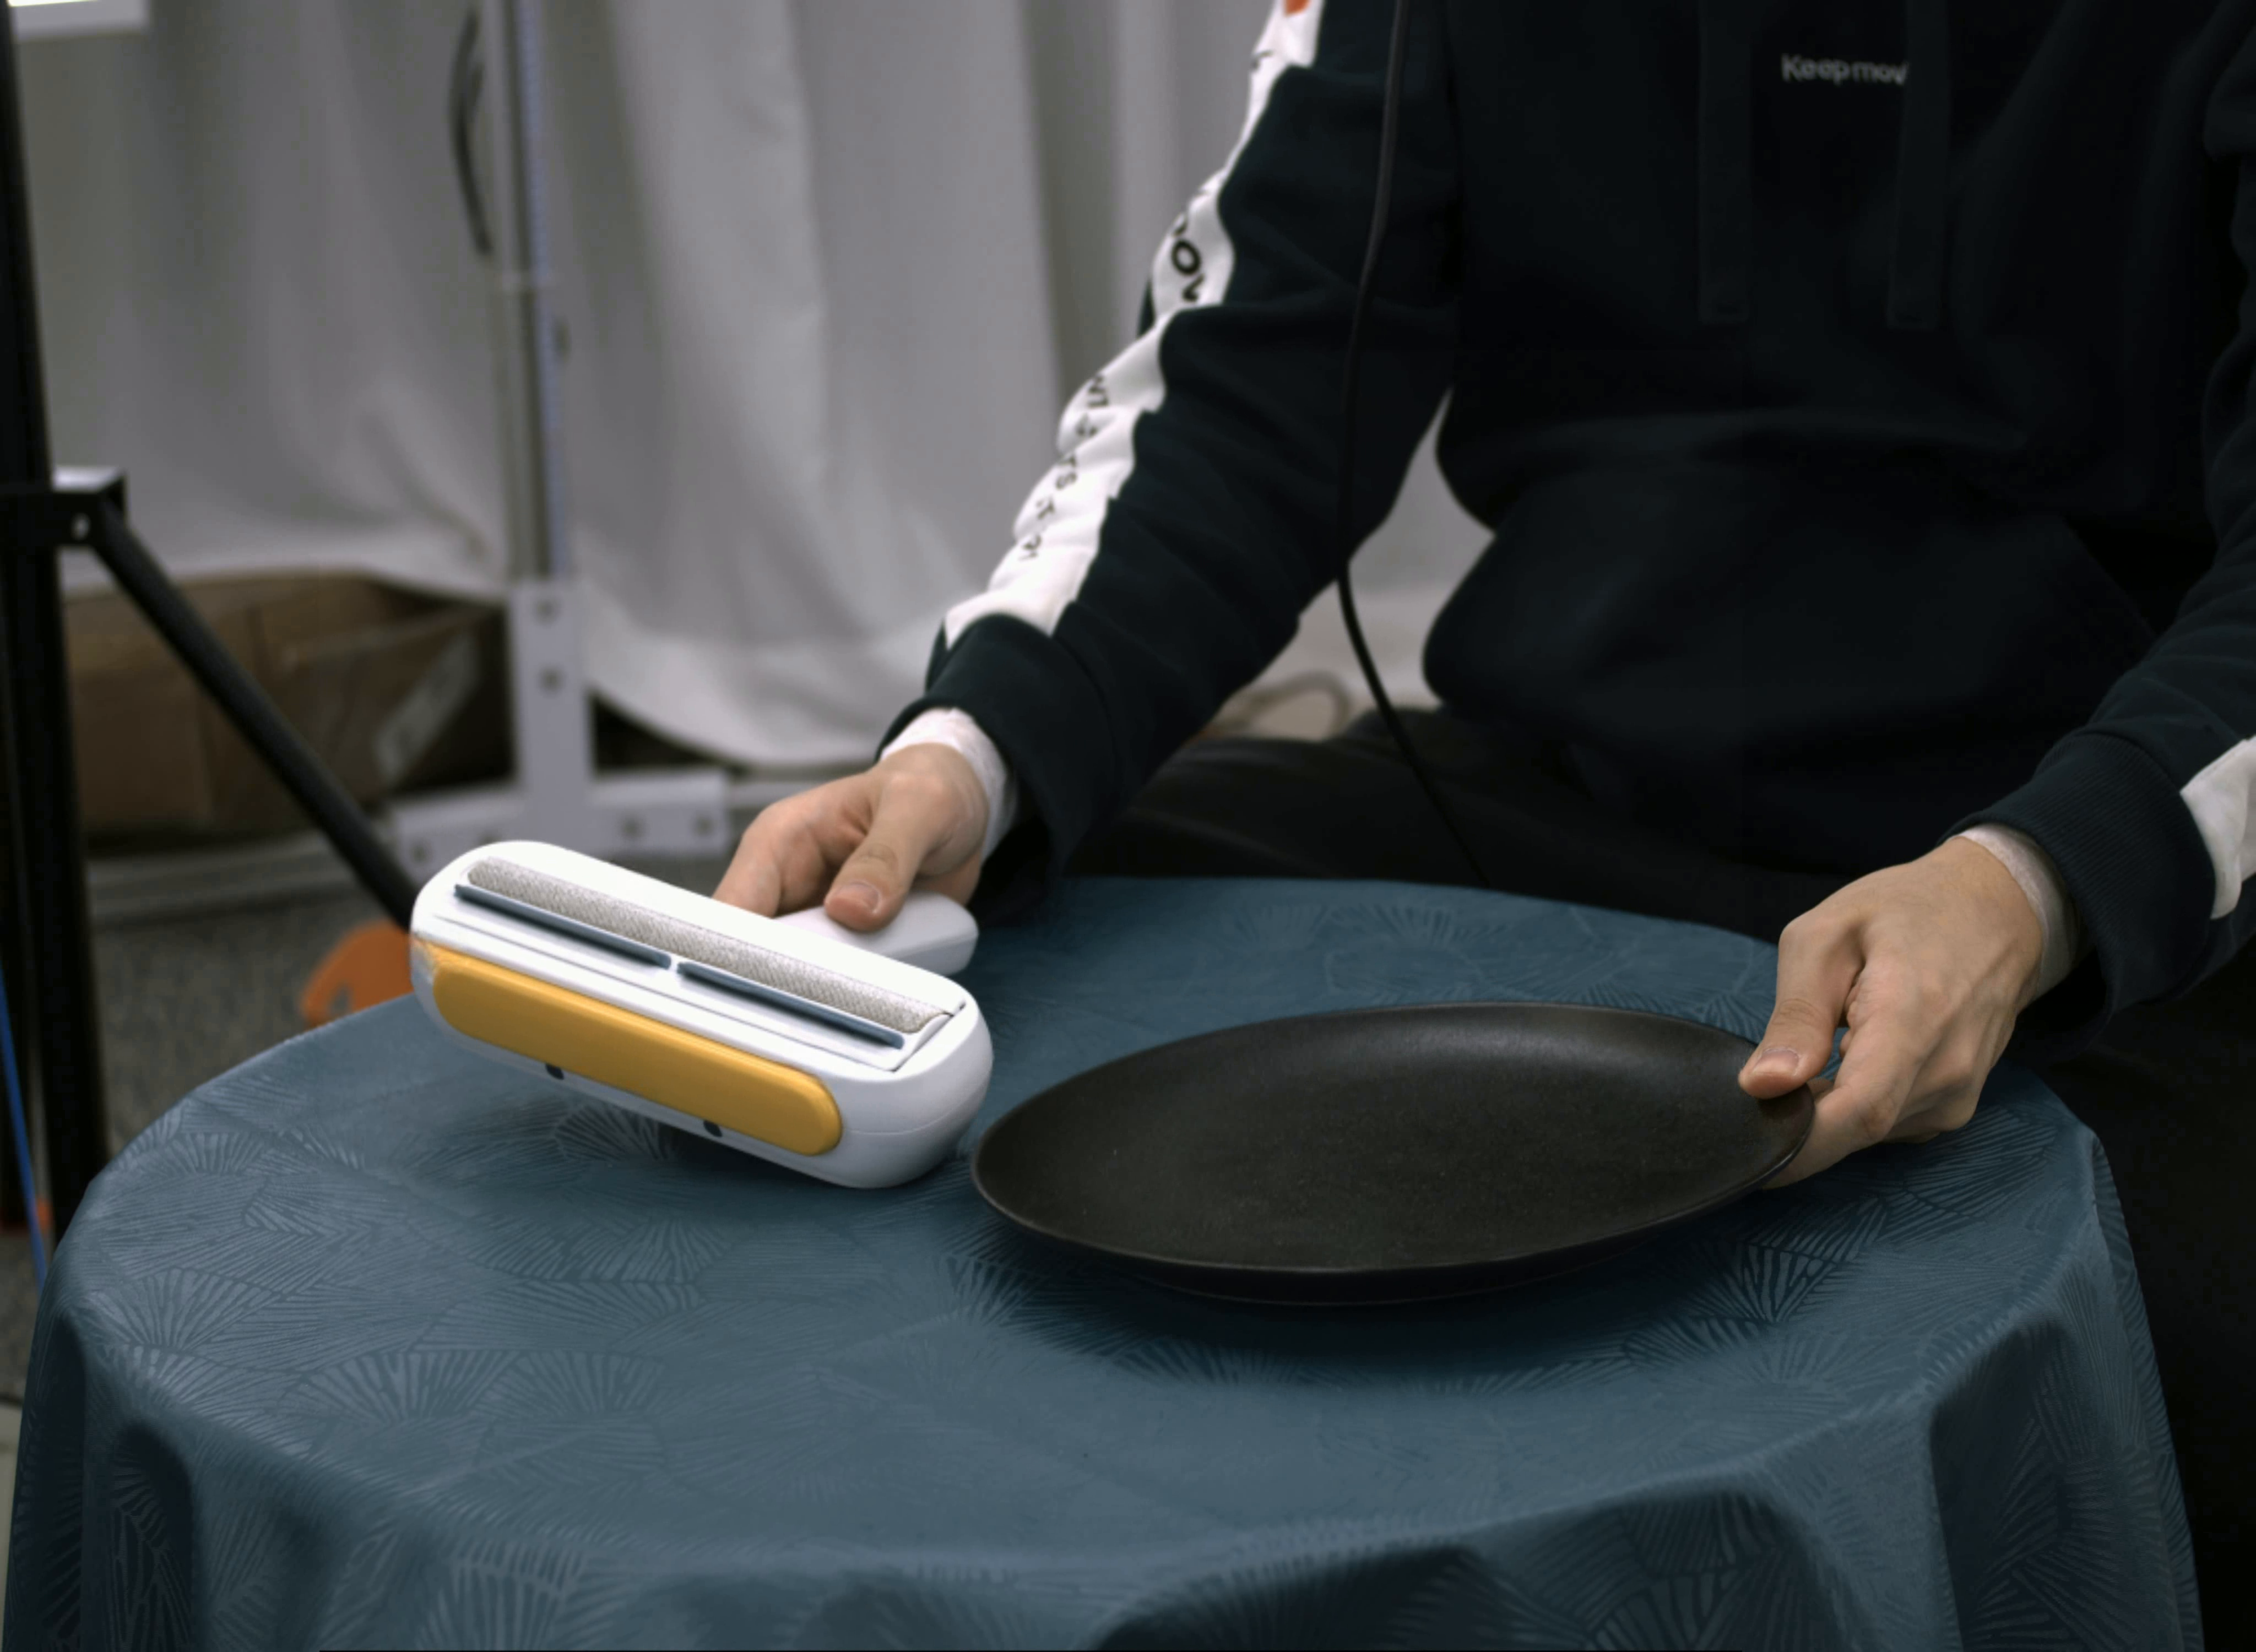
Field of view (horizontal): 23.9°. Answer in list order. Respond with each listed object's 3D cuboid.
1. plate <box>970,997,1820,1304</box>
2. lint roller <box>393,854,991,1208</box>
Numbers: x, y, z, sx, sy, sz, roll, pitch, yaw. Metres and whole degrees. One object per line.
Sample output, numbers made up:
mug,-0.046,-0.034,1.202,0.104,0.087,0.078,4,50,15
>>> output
plate,0.076,0.096,1.522,0.243,0.023,0.245,-6,15,0
lint roller,-0.107,0.061,1.667,0.197,0.074,0.188,18,15,33
